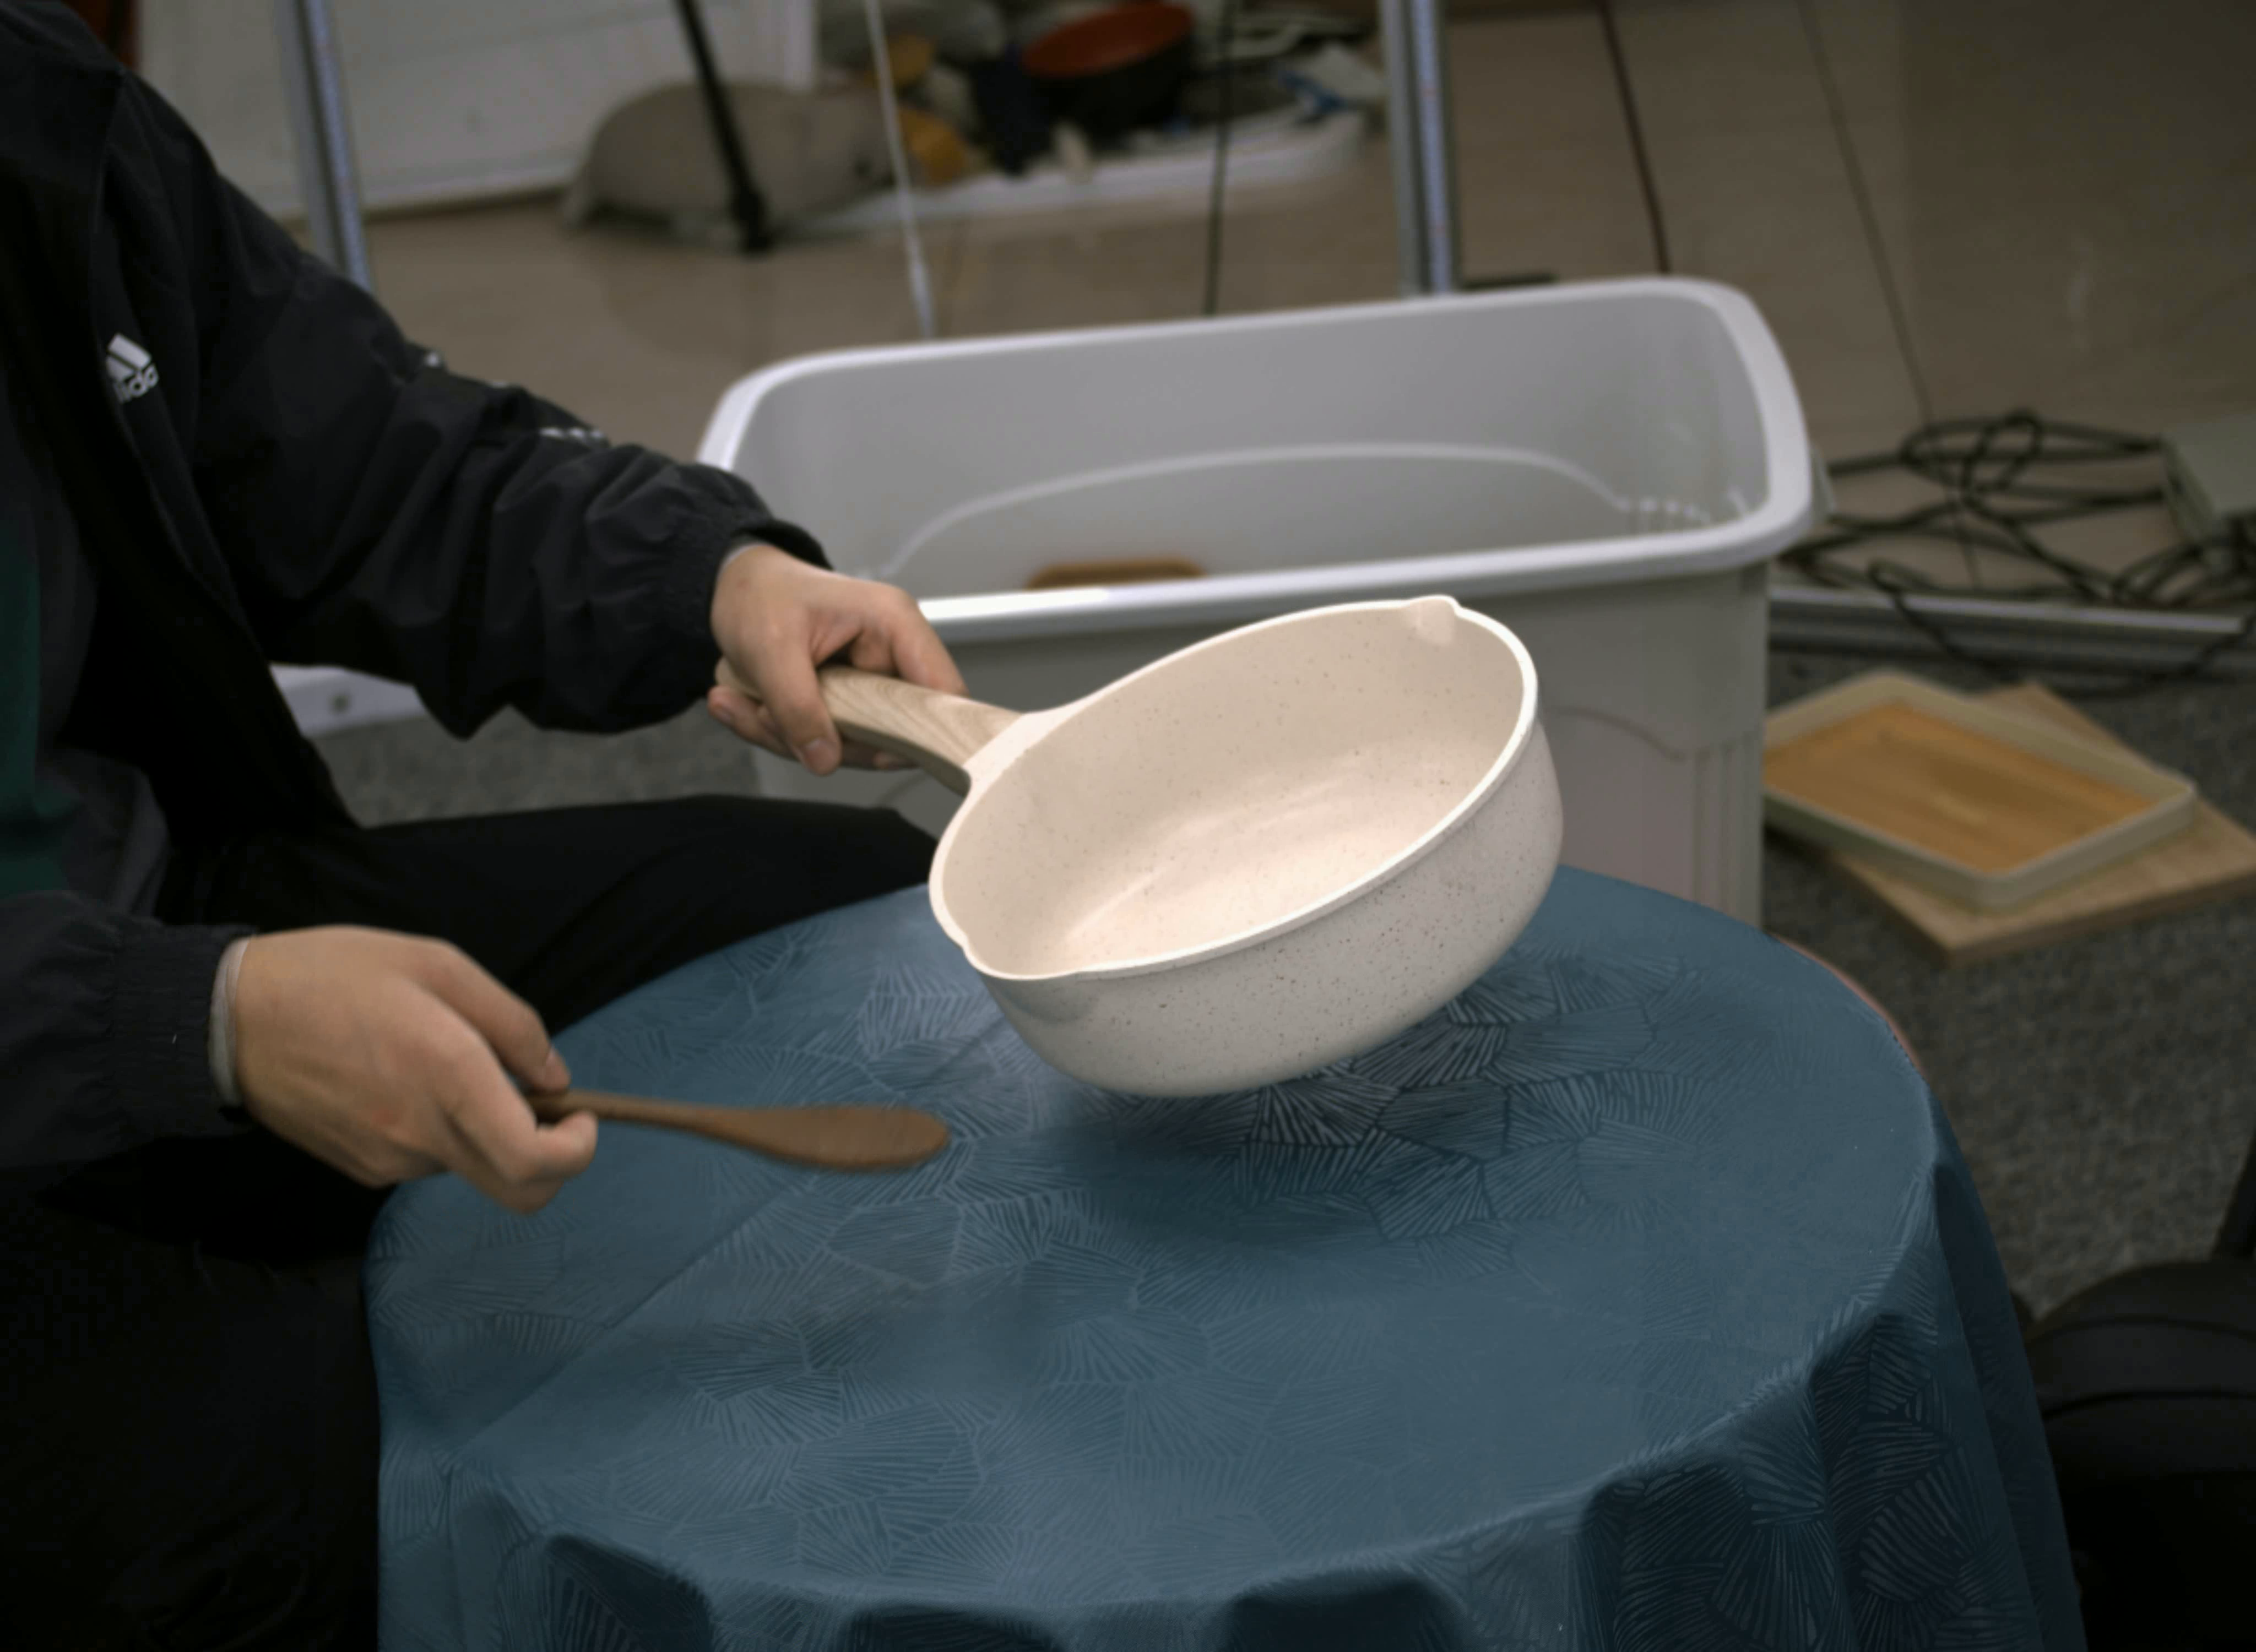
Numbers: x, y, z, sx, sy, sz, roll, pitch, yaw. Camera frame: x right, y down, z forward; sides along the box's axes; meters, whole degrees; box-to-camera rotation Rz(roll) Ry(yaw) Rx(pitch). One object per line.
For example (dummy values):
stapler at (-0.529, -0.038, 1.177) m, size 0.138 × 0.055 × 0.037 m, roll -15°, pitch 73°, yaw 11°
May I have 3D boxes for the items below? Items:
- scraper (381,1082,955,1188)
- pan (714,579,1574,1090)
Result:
scraper at (-0.168, 0.110, 2.065) m, size 0.211 × 0.011 × 0.075 m, roll 7°, pitch 14°, yaw 7°
pan at (-0.006, -0.005, 2.263) m, size 0.433 × 0.103 × 0.260 m, roll 9°, pitch 44°, yaw 48°
